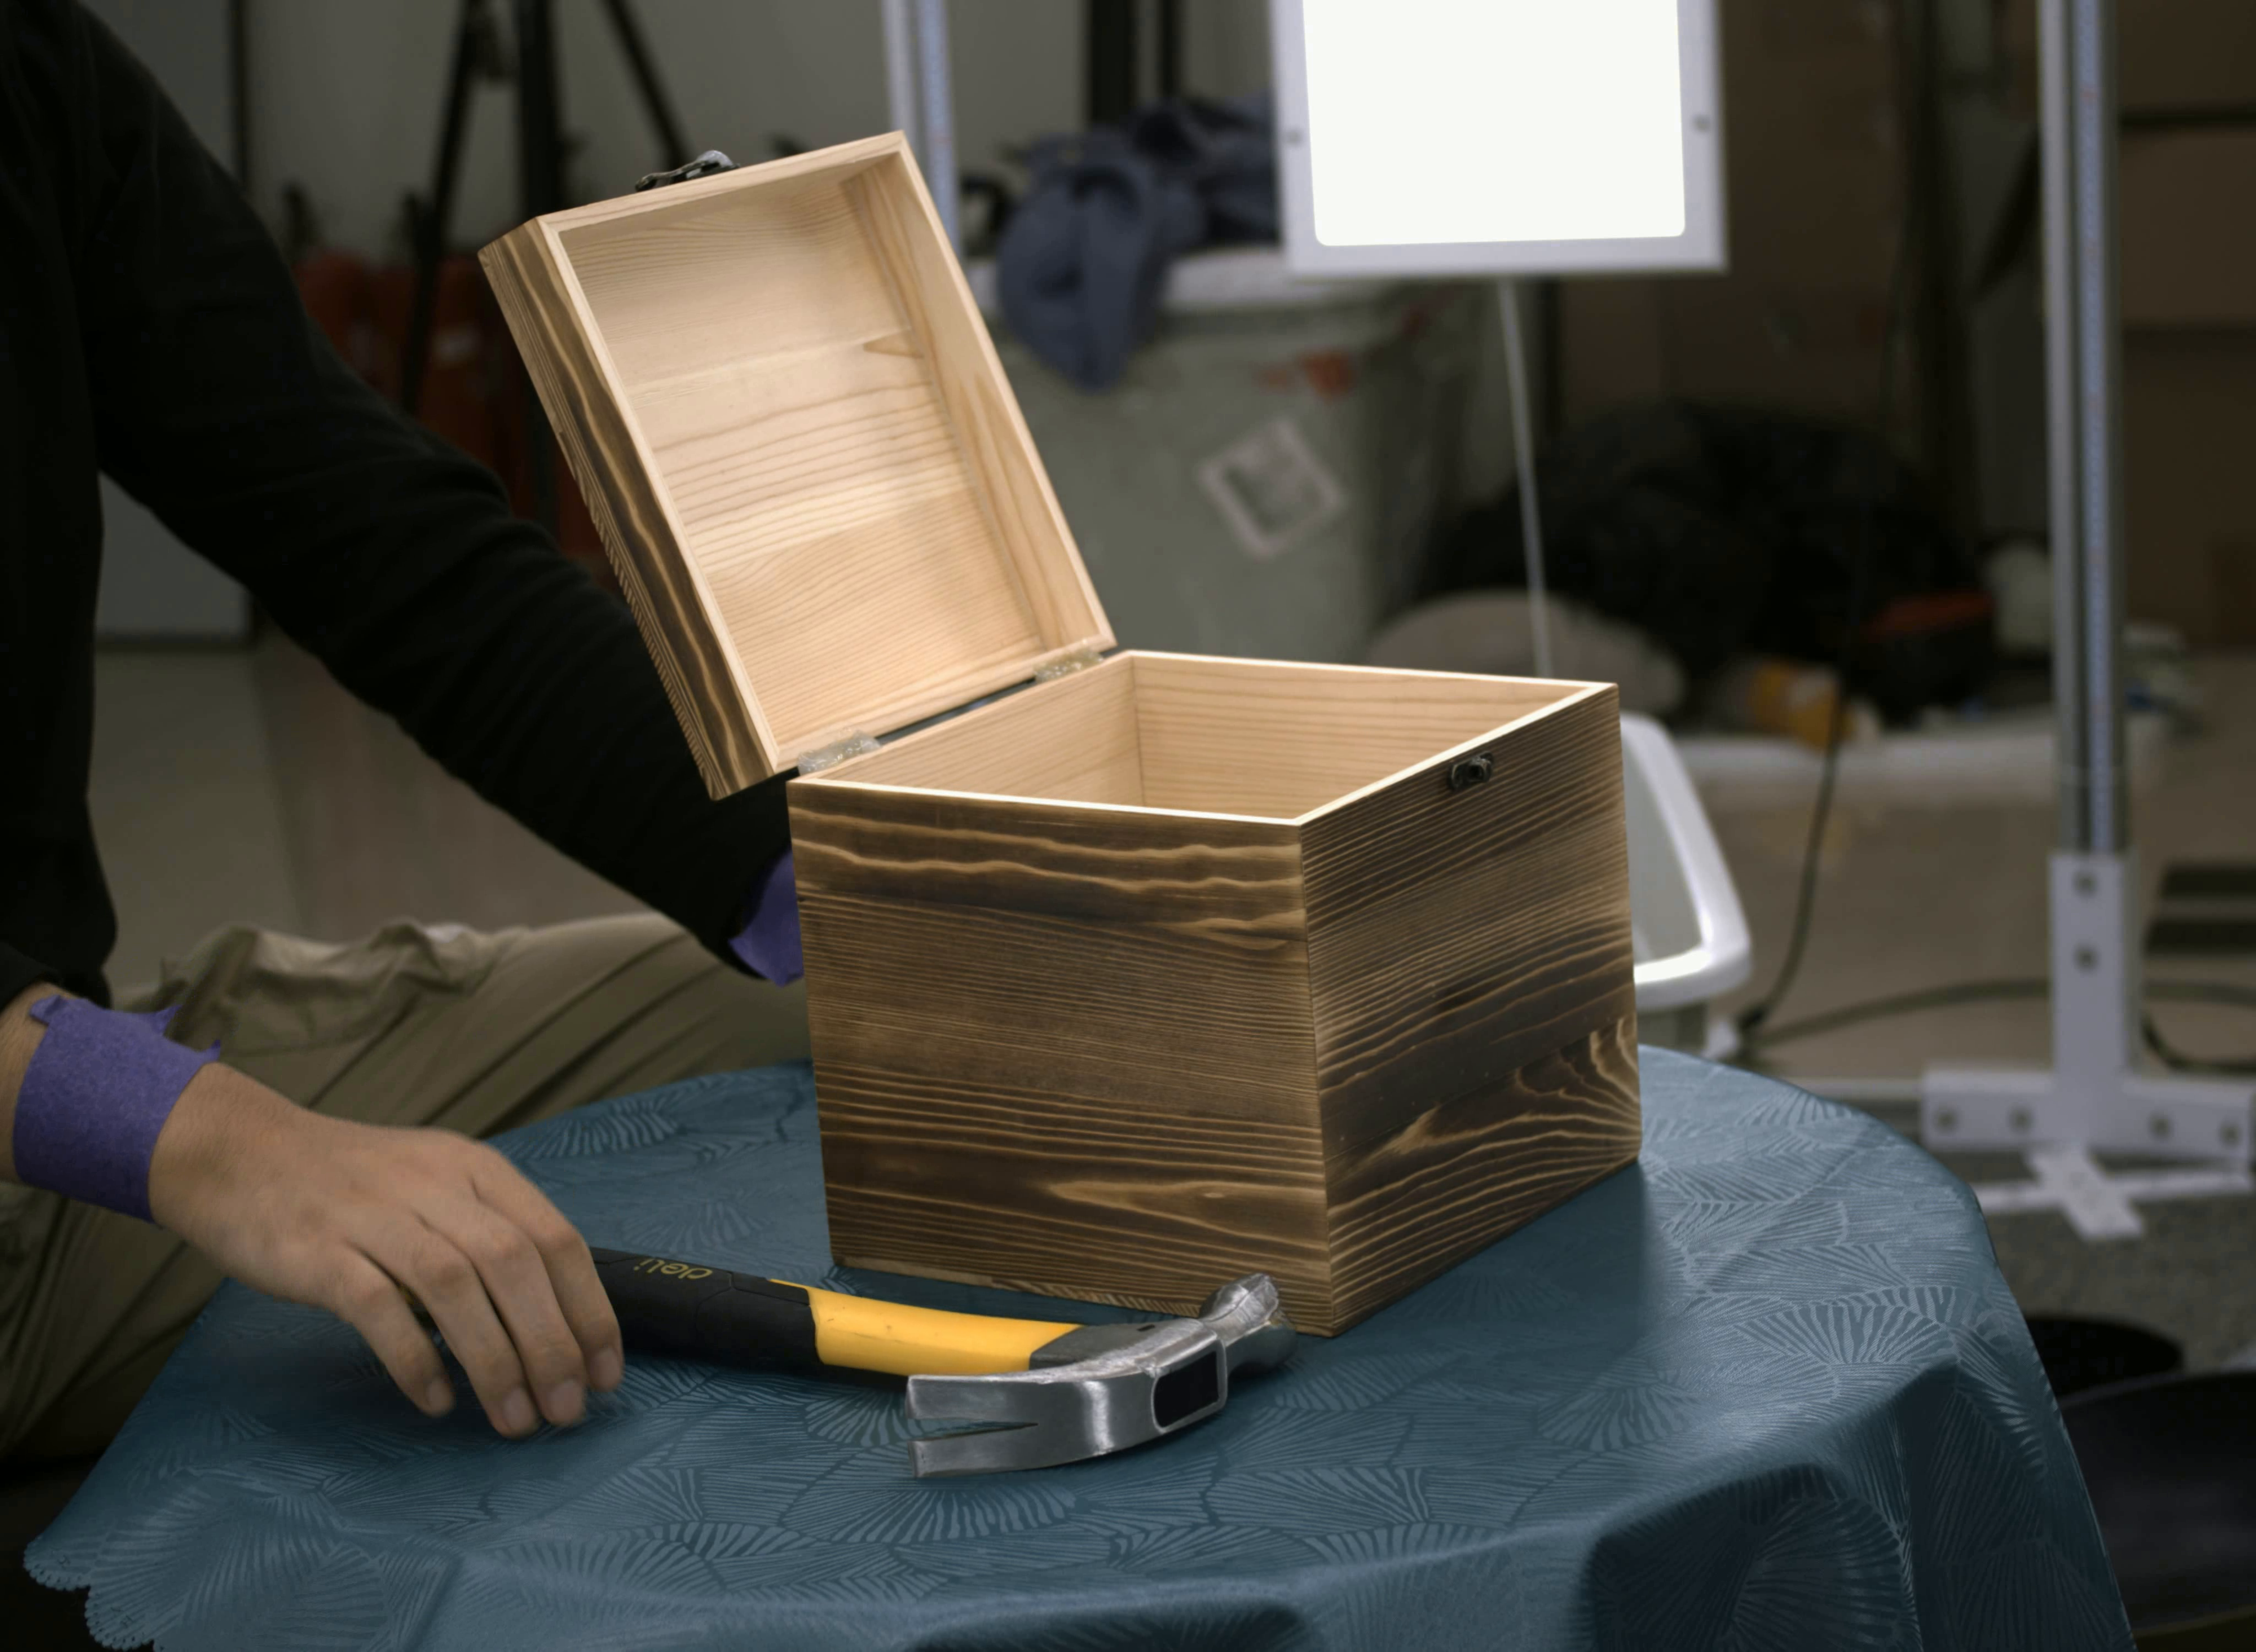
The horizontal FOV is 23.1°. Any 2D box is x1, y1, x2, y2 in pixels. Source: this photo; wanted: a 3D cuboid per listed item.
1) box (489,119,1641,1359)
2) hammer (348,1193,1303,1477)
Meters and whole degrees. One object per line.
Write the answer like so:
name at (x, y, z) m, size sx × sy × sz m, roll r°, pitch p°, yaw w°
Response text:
box at (-0.019, -0.045, 1.854) m, size 0.329 × 0.377 × 0.203 m, roll 4°, pitch 17°, yaw 36°
hammer at (-0.118, 0.153, 1.759) m, size 0.345 × 0.032 × 0.128 m, roll 7°, pitch 18°, yaw 37°
